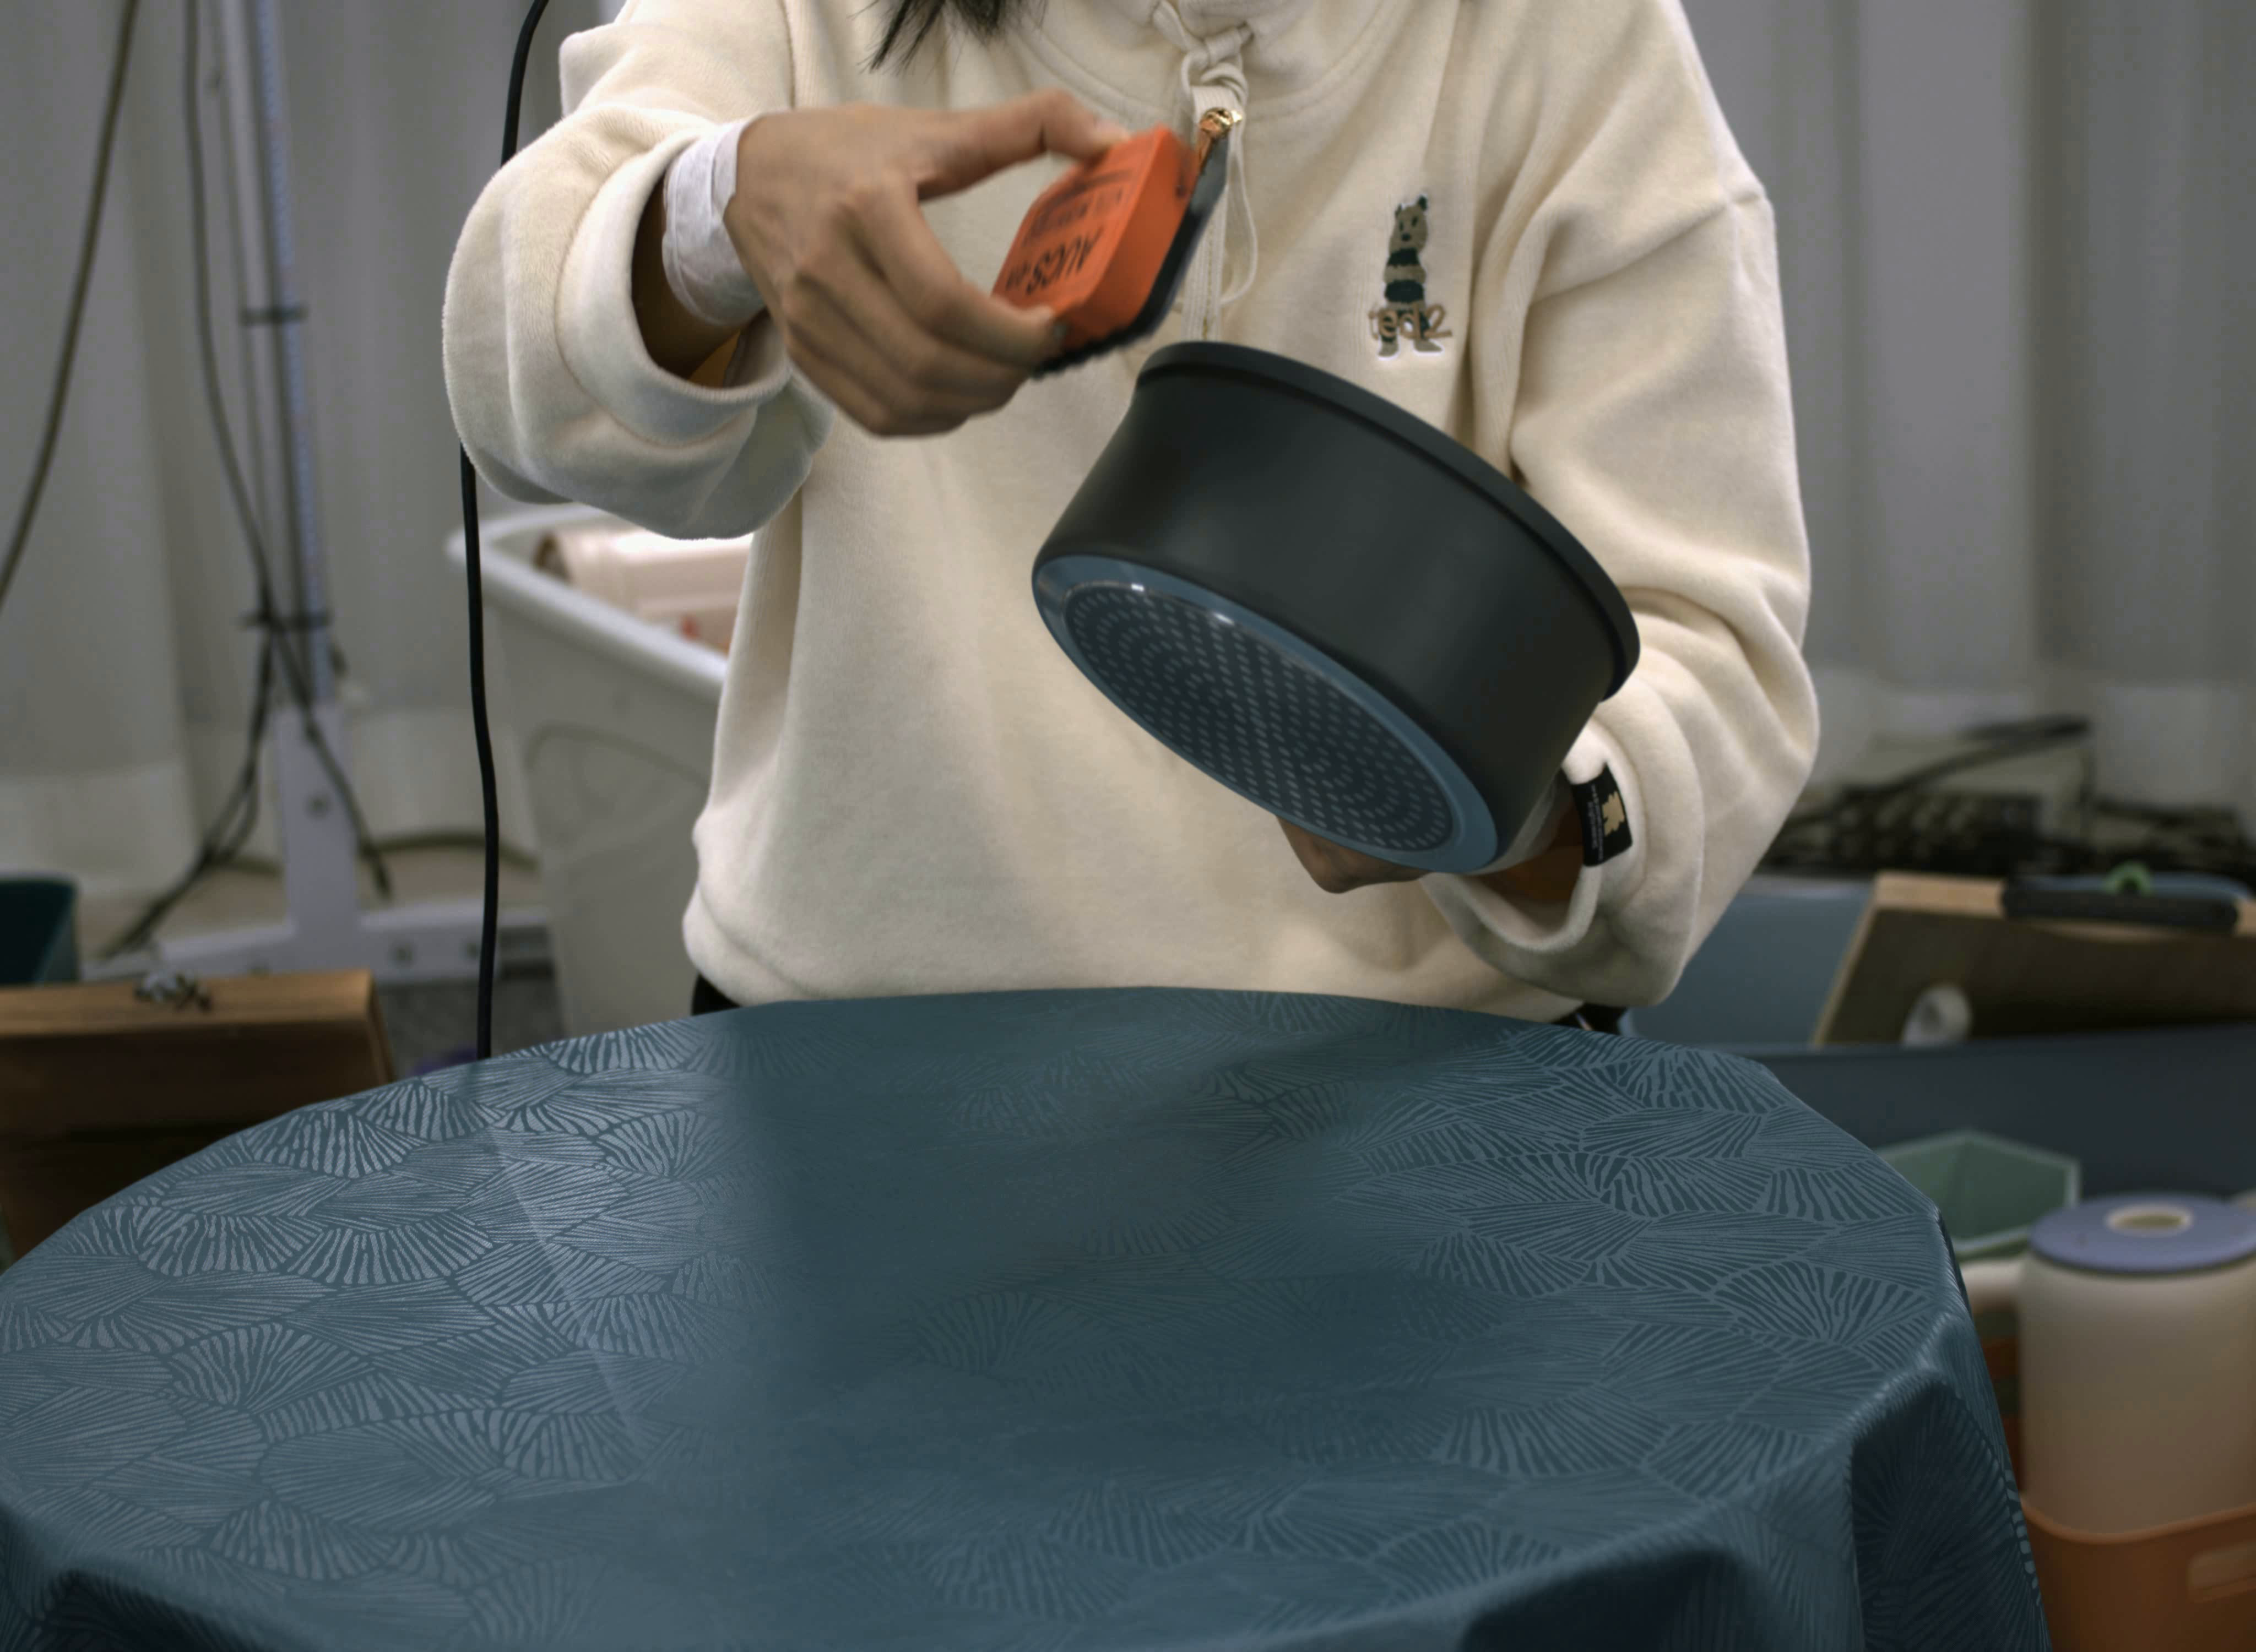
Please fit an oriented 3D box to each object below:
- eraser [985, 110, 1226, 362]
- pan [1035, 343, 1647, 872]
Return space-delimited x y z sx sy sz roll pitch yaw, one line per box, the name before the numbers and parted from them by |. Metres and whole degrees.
eraser | -0.007 -0.167 1.562 0.023 0.059 0.108 24 -11 -17
pan | 0.062 -0.037 1.682 0.172 0.087 0.326 30 -15 12
